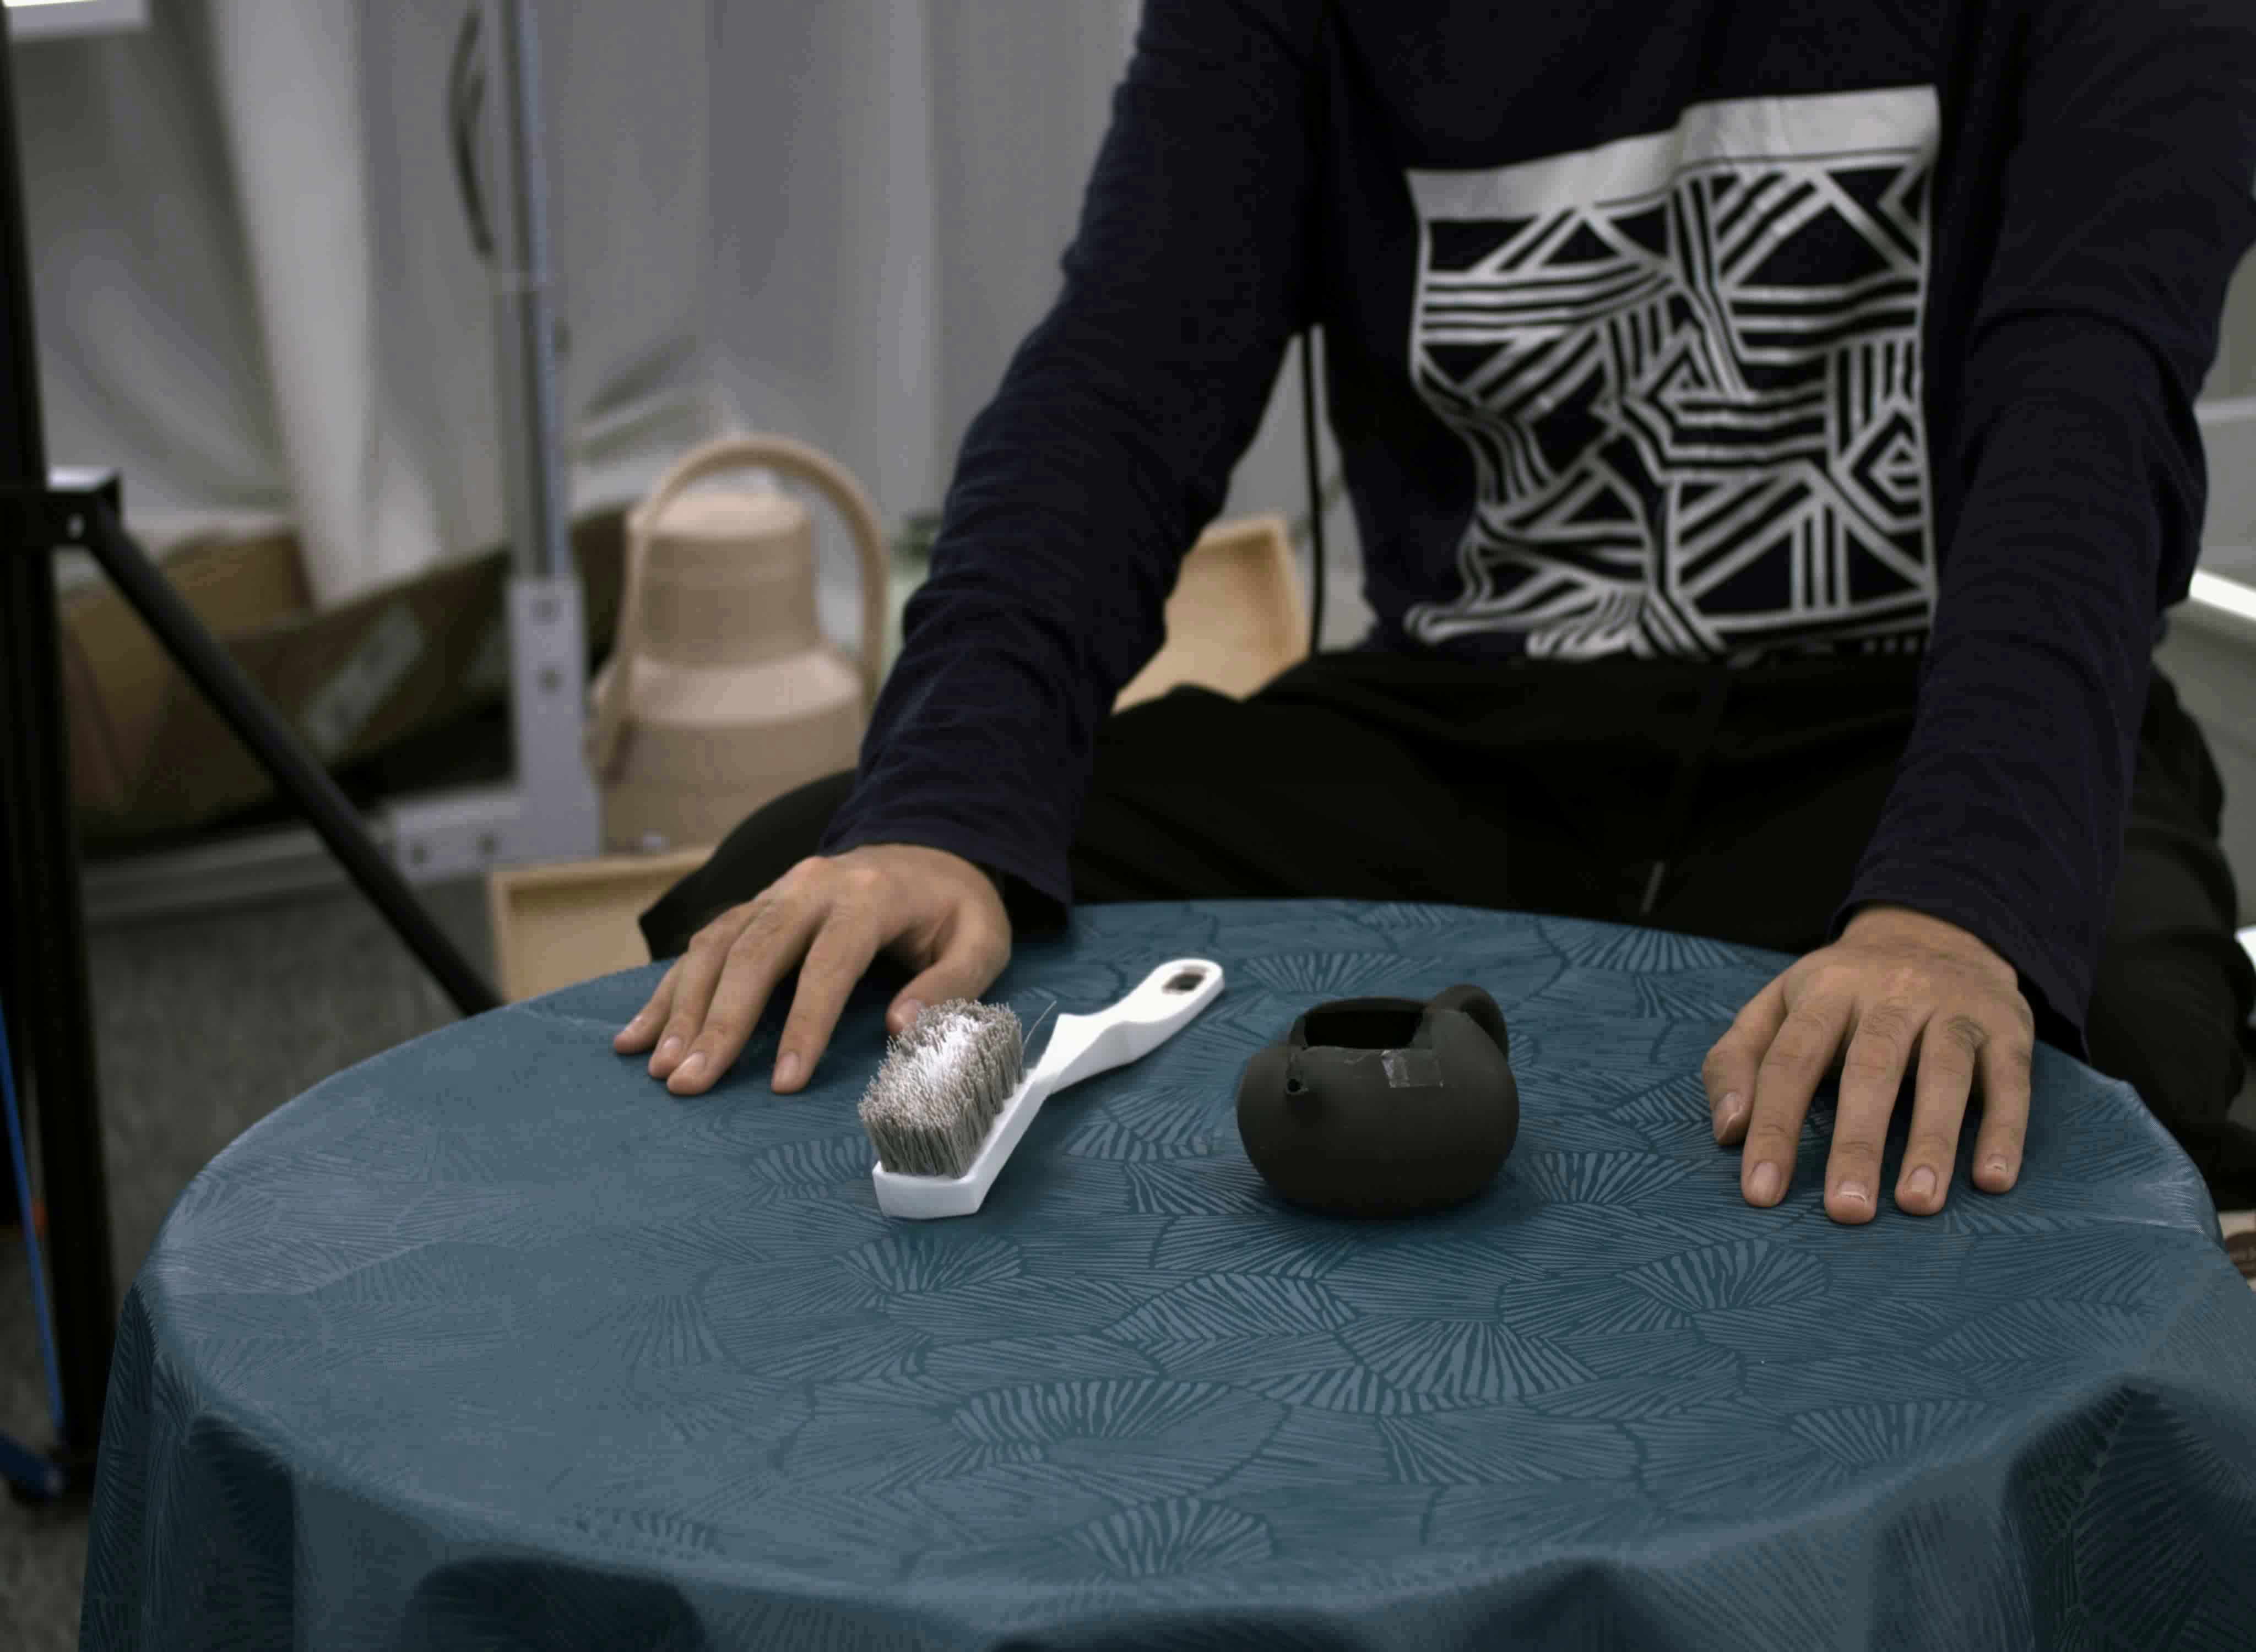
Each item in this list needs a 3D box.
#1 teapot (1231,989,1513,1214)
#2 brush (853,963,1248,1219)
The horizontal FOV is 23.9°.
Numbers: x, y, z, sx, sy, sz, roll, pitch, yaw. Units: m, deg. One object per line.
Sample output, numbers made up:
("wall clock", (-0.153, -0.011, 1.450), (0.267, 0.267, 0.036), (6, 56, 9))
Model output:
("teapot", (0.079, 0.078, 1.560), (0.084, 0.053, 0.112), (8, 19, 35))
("brush", (-0.019, 0.062, 1.639), (0.035, 0.050, 0.240), (1, 16, 25))
